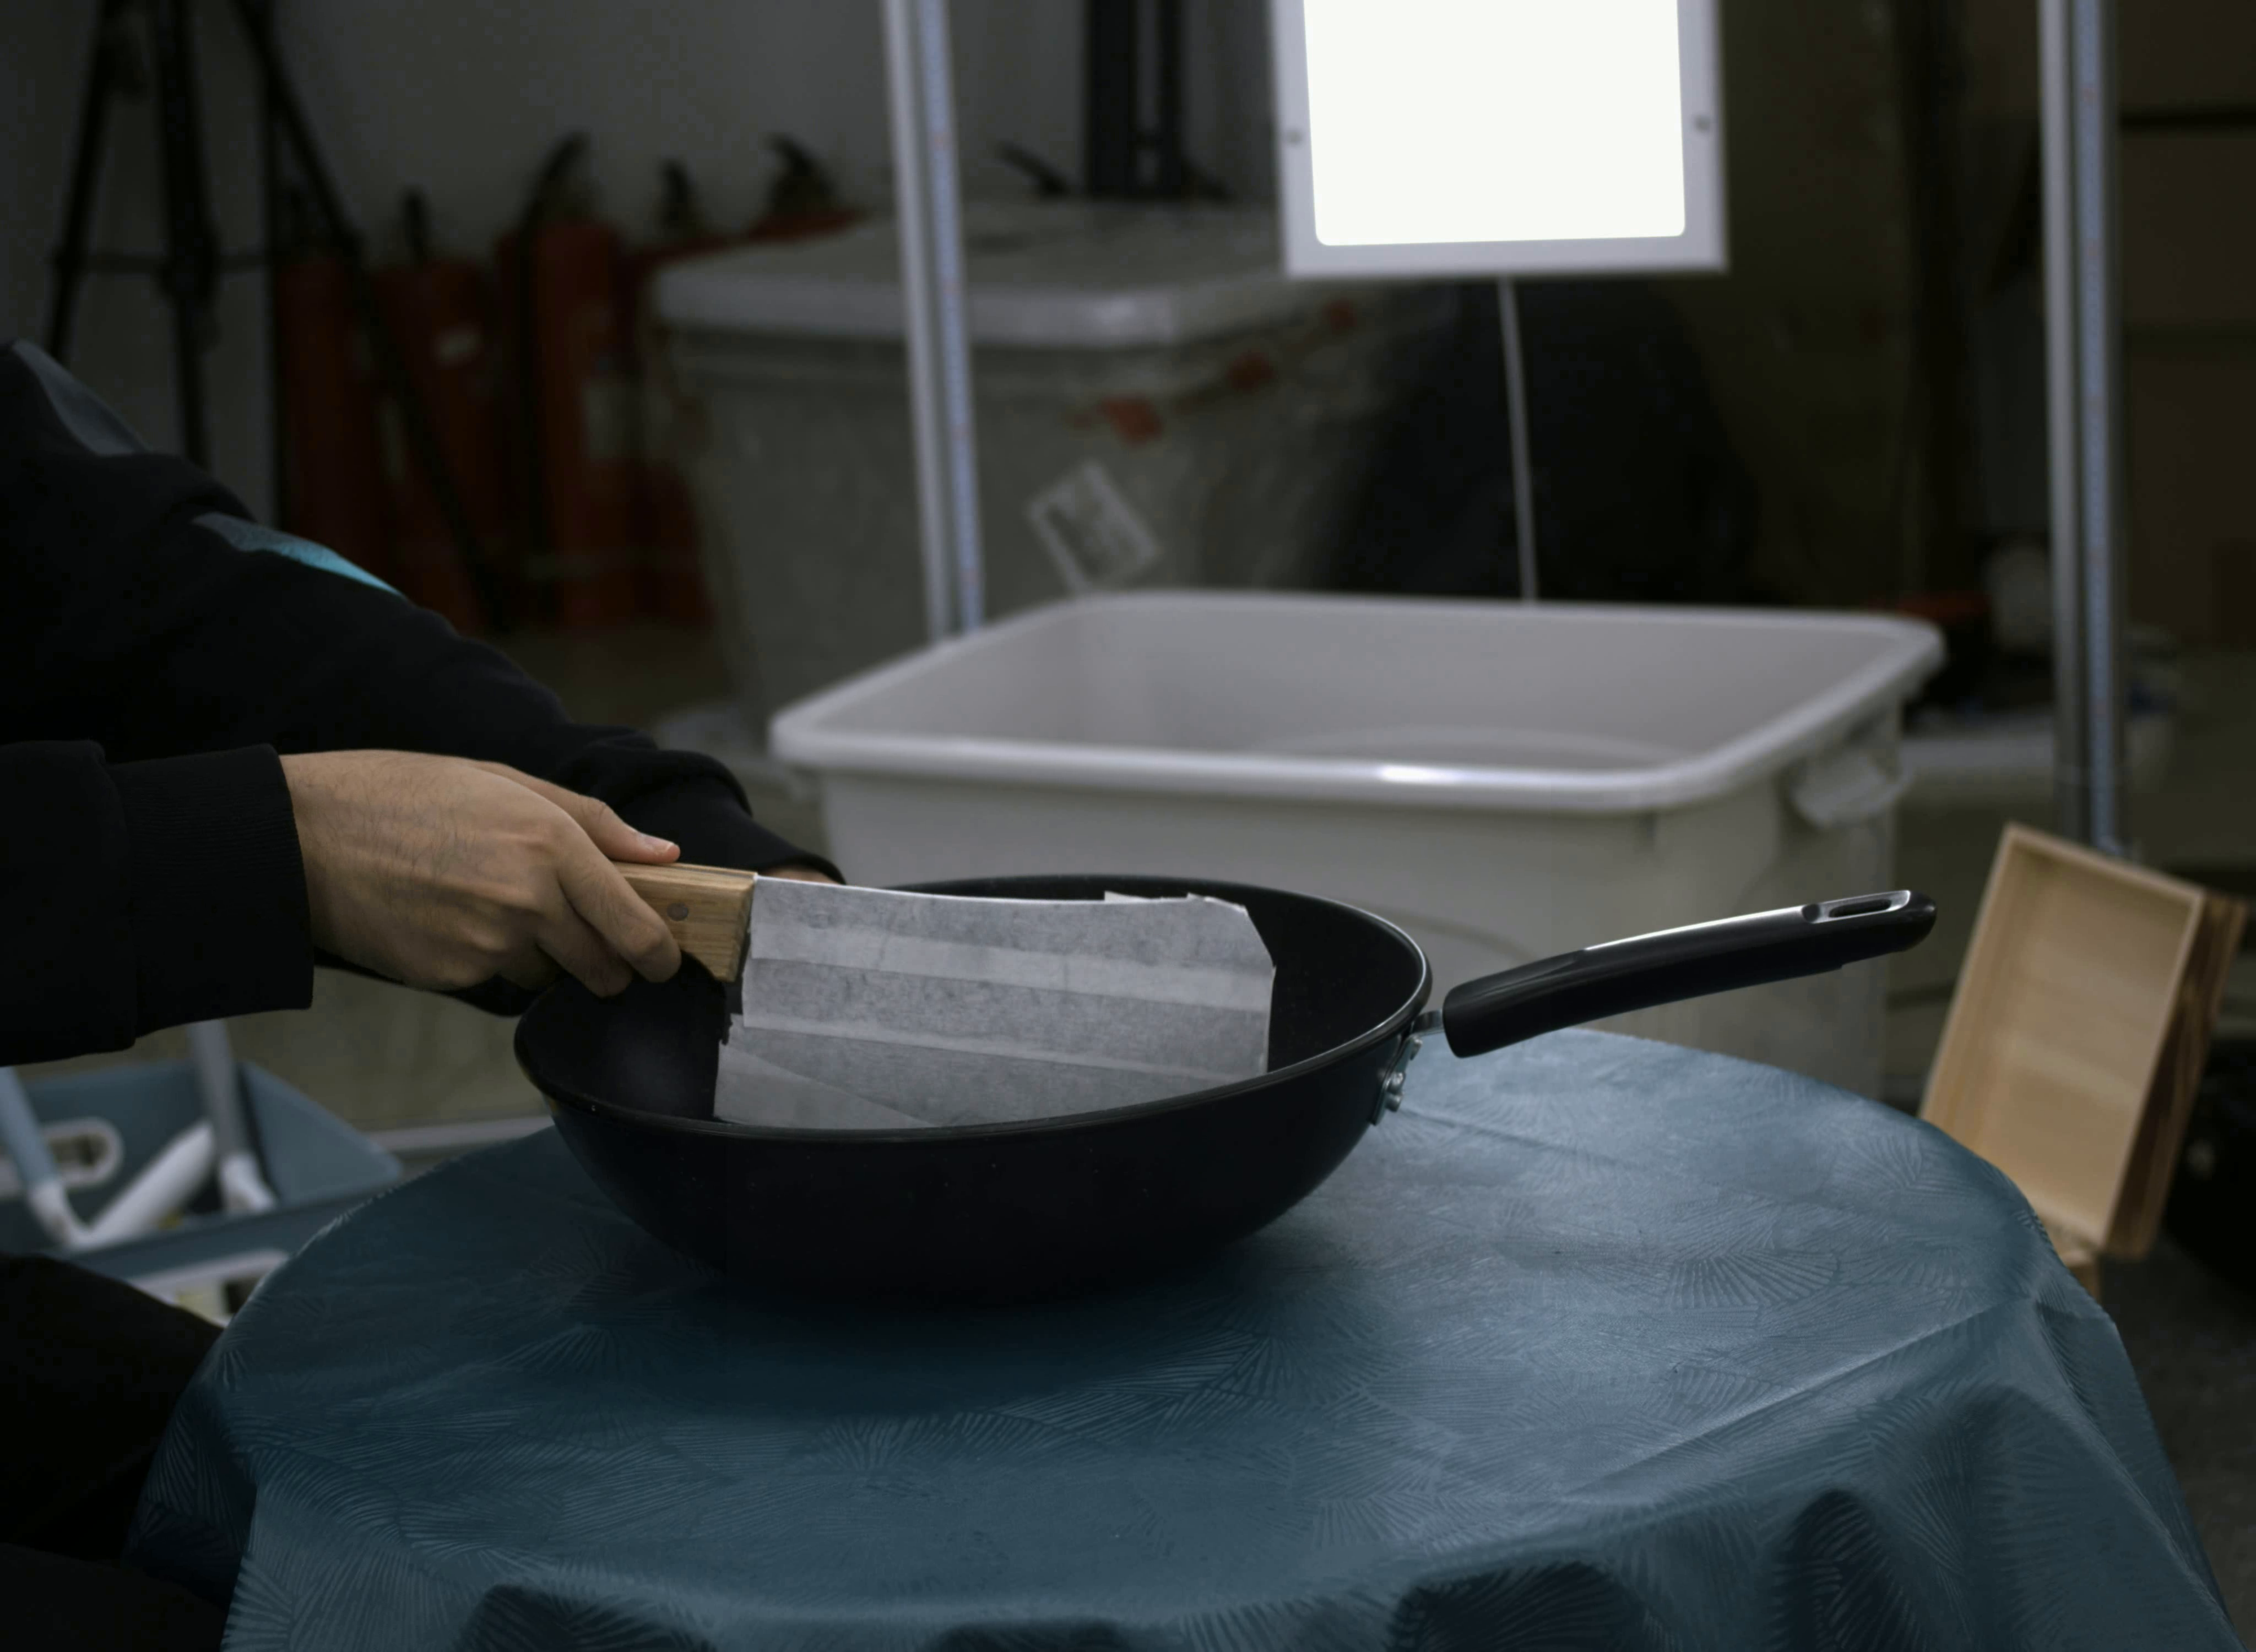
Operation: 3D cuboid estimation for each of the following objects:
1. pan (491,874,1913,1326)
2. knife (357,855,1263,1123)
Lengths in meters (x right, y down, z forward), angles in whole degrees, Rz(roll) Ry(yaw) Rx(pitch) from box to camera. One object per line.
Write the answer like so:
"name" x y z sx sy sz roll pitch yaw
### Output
"pan" 0.024 0.086 1.833 0.481 0.112 0.306 -2 16 14
"knife" -0.102 0.051 1.825 0.316 0.115 0.021 11 15 5
